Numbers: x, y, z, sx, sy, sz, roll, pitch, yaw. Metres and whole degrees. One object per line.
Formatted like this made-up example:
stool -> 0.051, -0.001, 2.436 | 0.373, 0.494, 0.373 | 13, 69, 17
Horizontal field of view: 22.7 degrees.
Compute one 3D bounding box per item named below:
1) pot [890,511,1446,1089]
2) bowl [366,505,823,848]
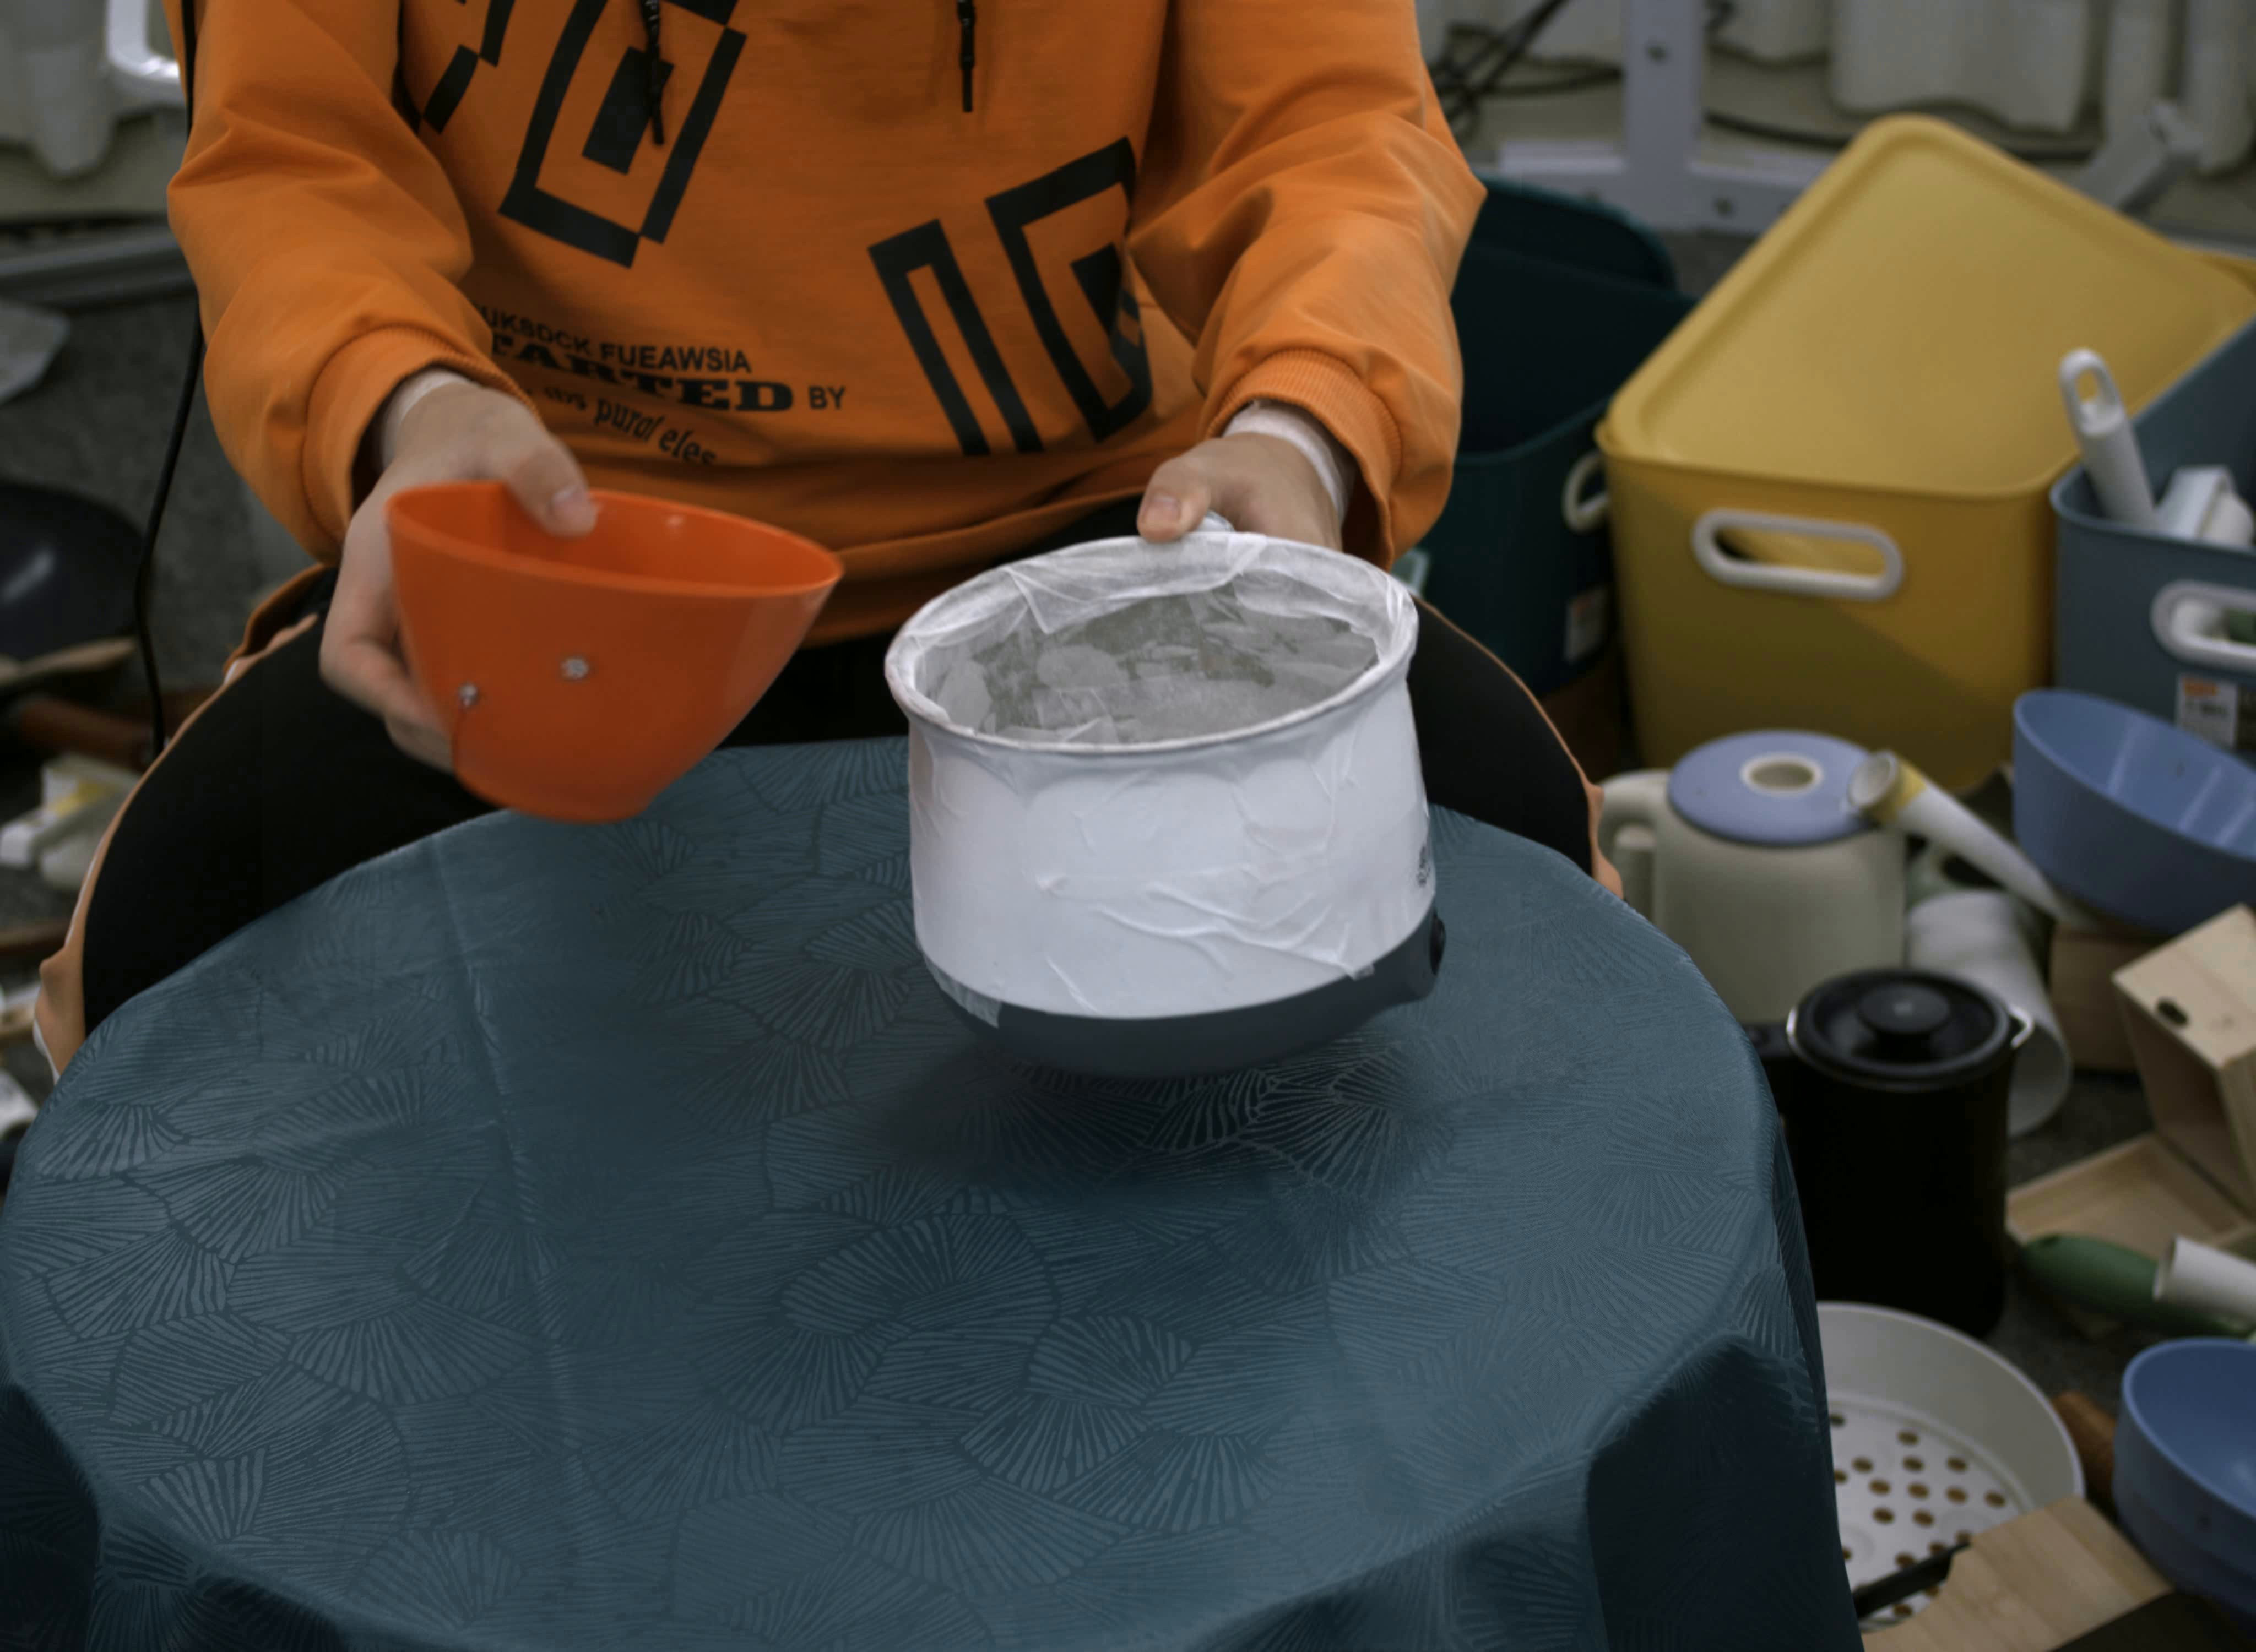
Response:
pot -> 0.018, -0.015, 1.906 | 0.177, 0.135, 0.237 | -1, 25, 9
bowl -> -0.179, -0.048, 1.818 | 0.147, 0.104, 0.150 | 11, 20, -4
